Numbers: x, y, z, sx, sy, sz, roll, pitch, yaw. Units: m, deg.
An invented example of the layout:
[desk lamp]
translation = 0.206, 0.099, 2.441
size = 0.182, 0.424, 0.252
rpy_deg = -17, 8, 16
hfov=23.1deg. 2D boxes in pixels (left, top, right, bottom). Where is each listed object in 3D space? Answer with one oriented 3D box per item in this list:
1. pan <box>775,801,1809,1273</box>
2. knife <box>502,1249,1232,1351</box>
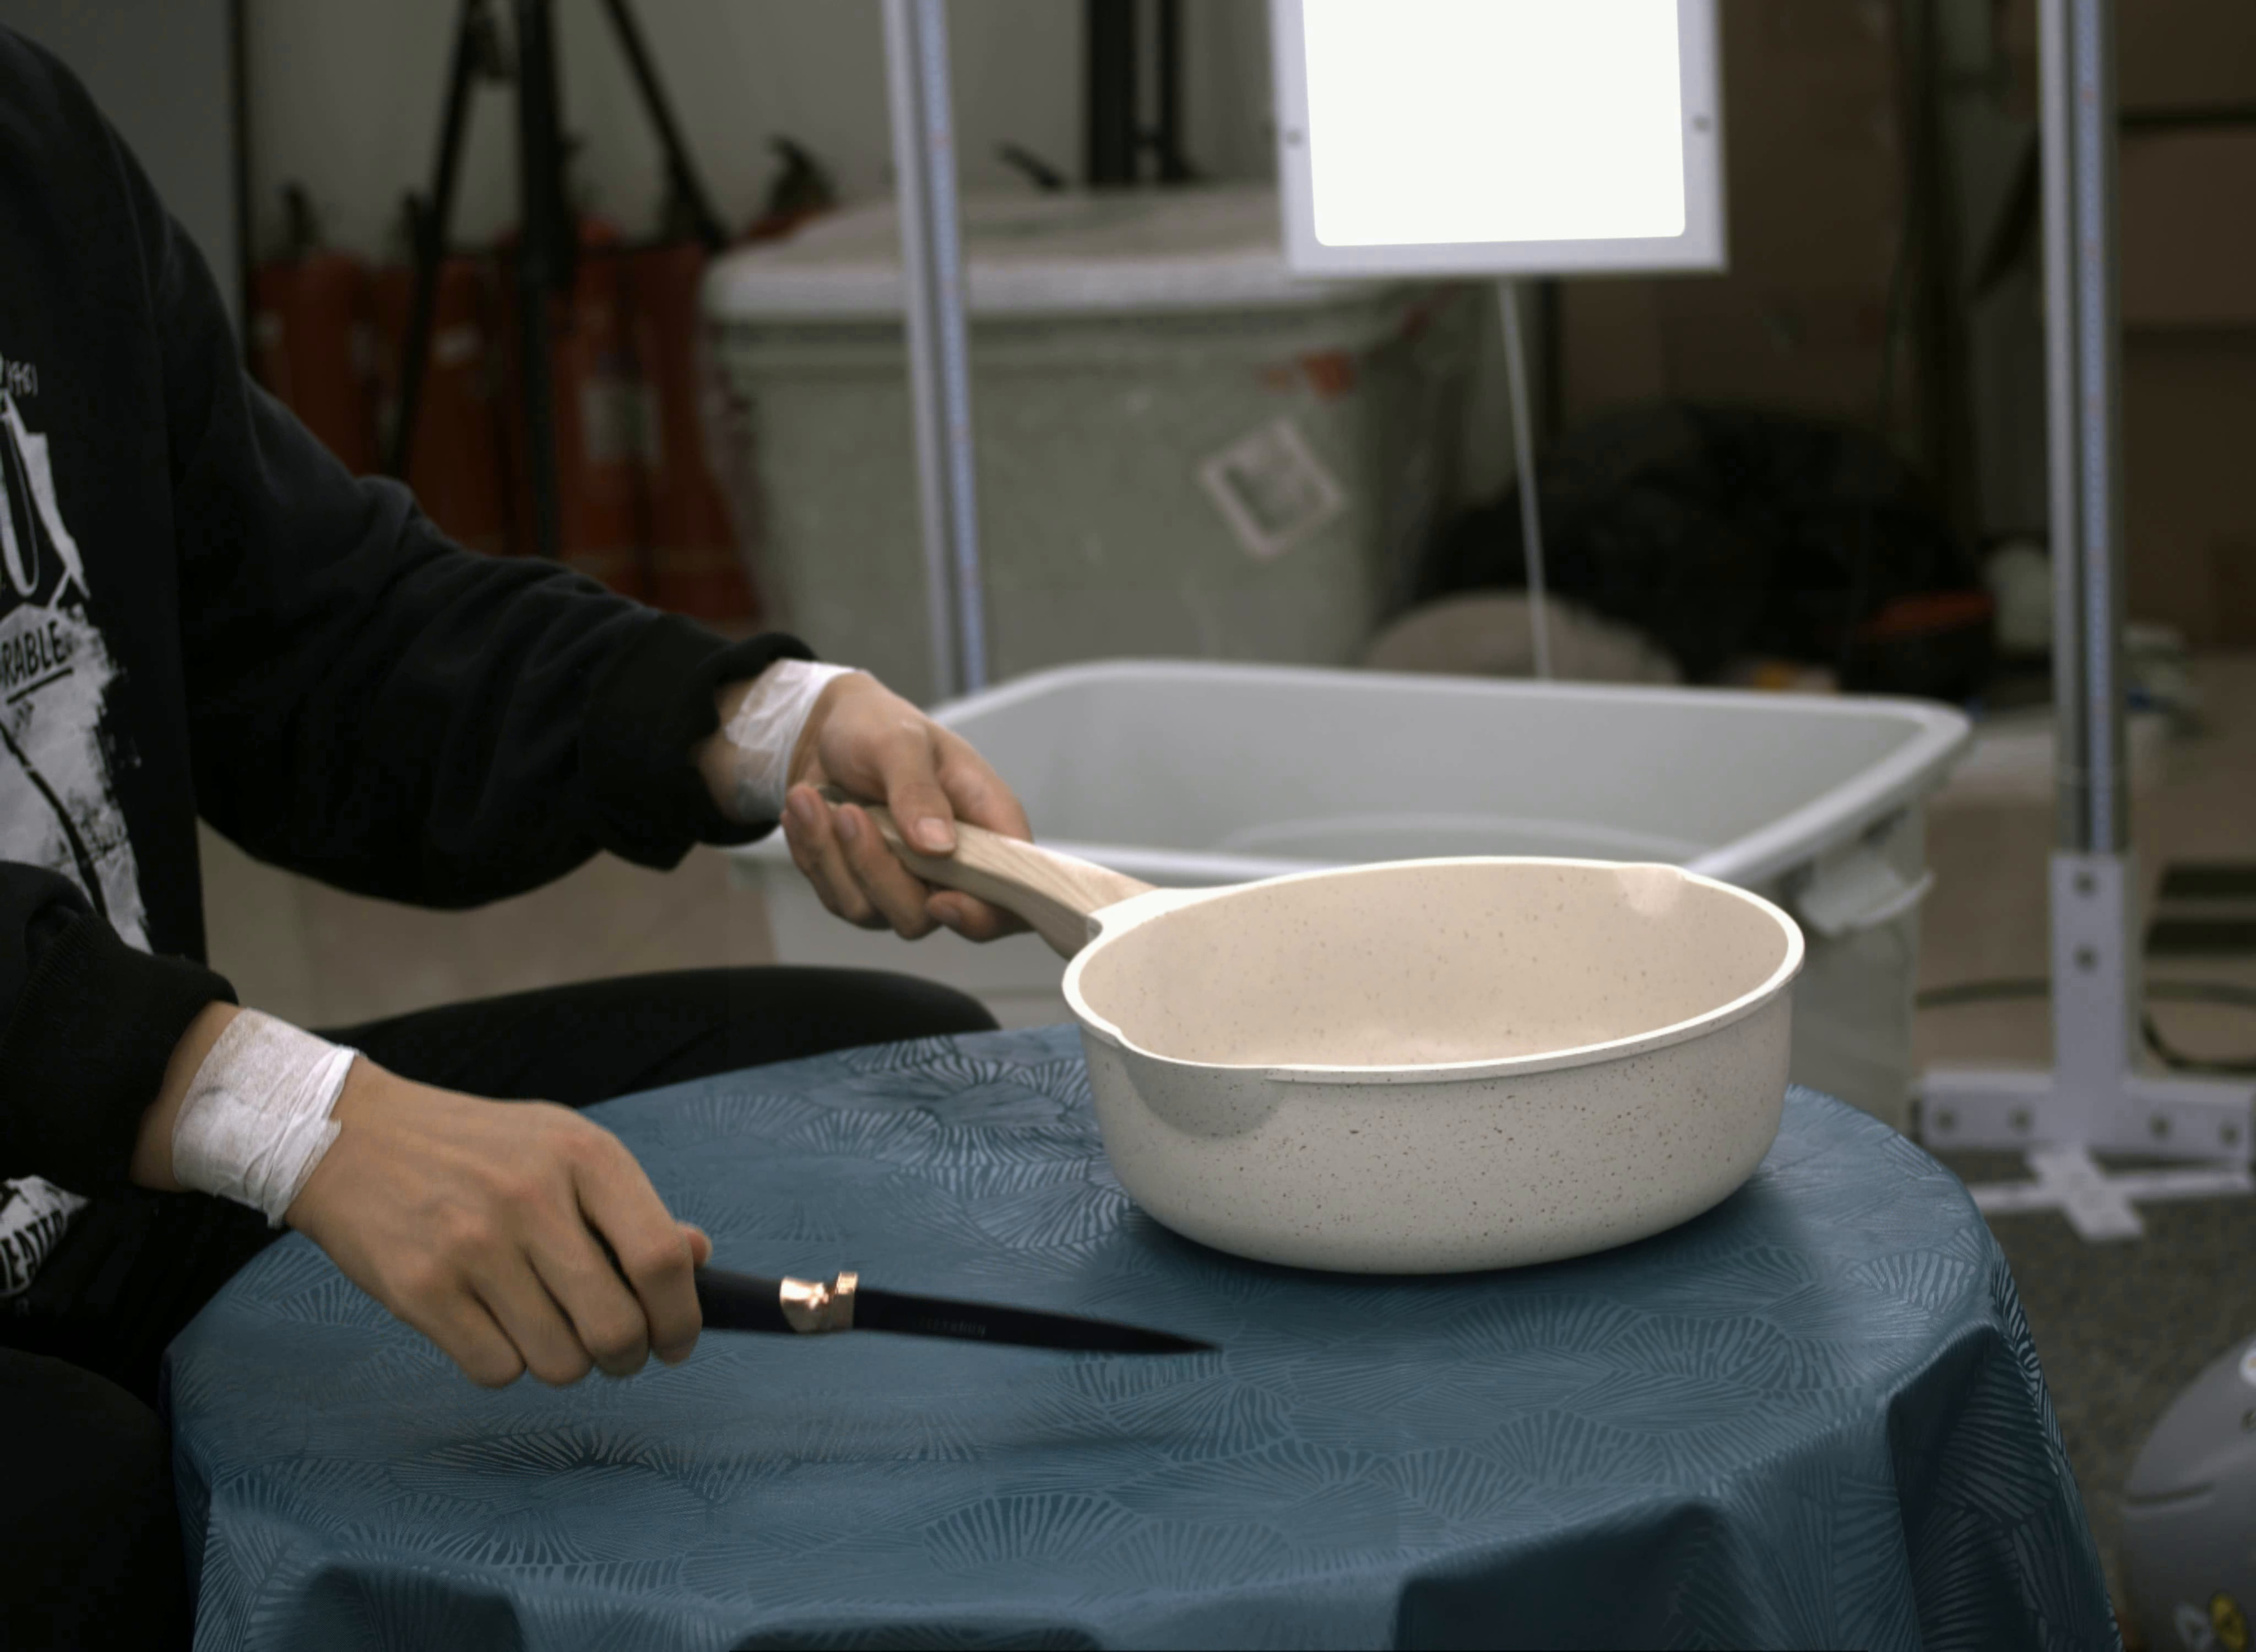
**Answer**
[pan]
translation = 0.040, 0.063, 1.927
size = 0.444, 0.102, 0.257
rpy_deg = 9, 21, 43
[knife]
translation = -0.080, 0.147, 1.673
size = 0.226, 0.026, 0.017
rpy_deg = 5, 38, 8
